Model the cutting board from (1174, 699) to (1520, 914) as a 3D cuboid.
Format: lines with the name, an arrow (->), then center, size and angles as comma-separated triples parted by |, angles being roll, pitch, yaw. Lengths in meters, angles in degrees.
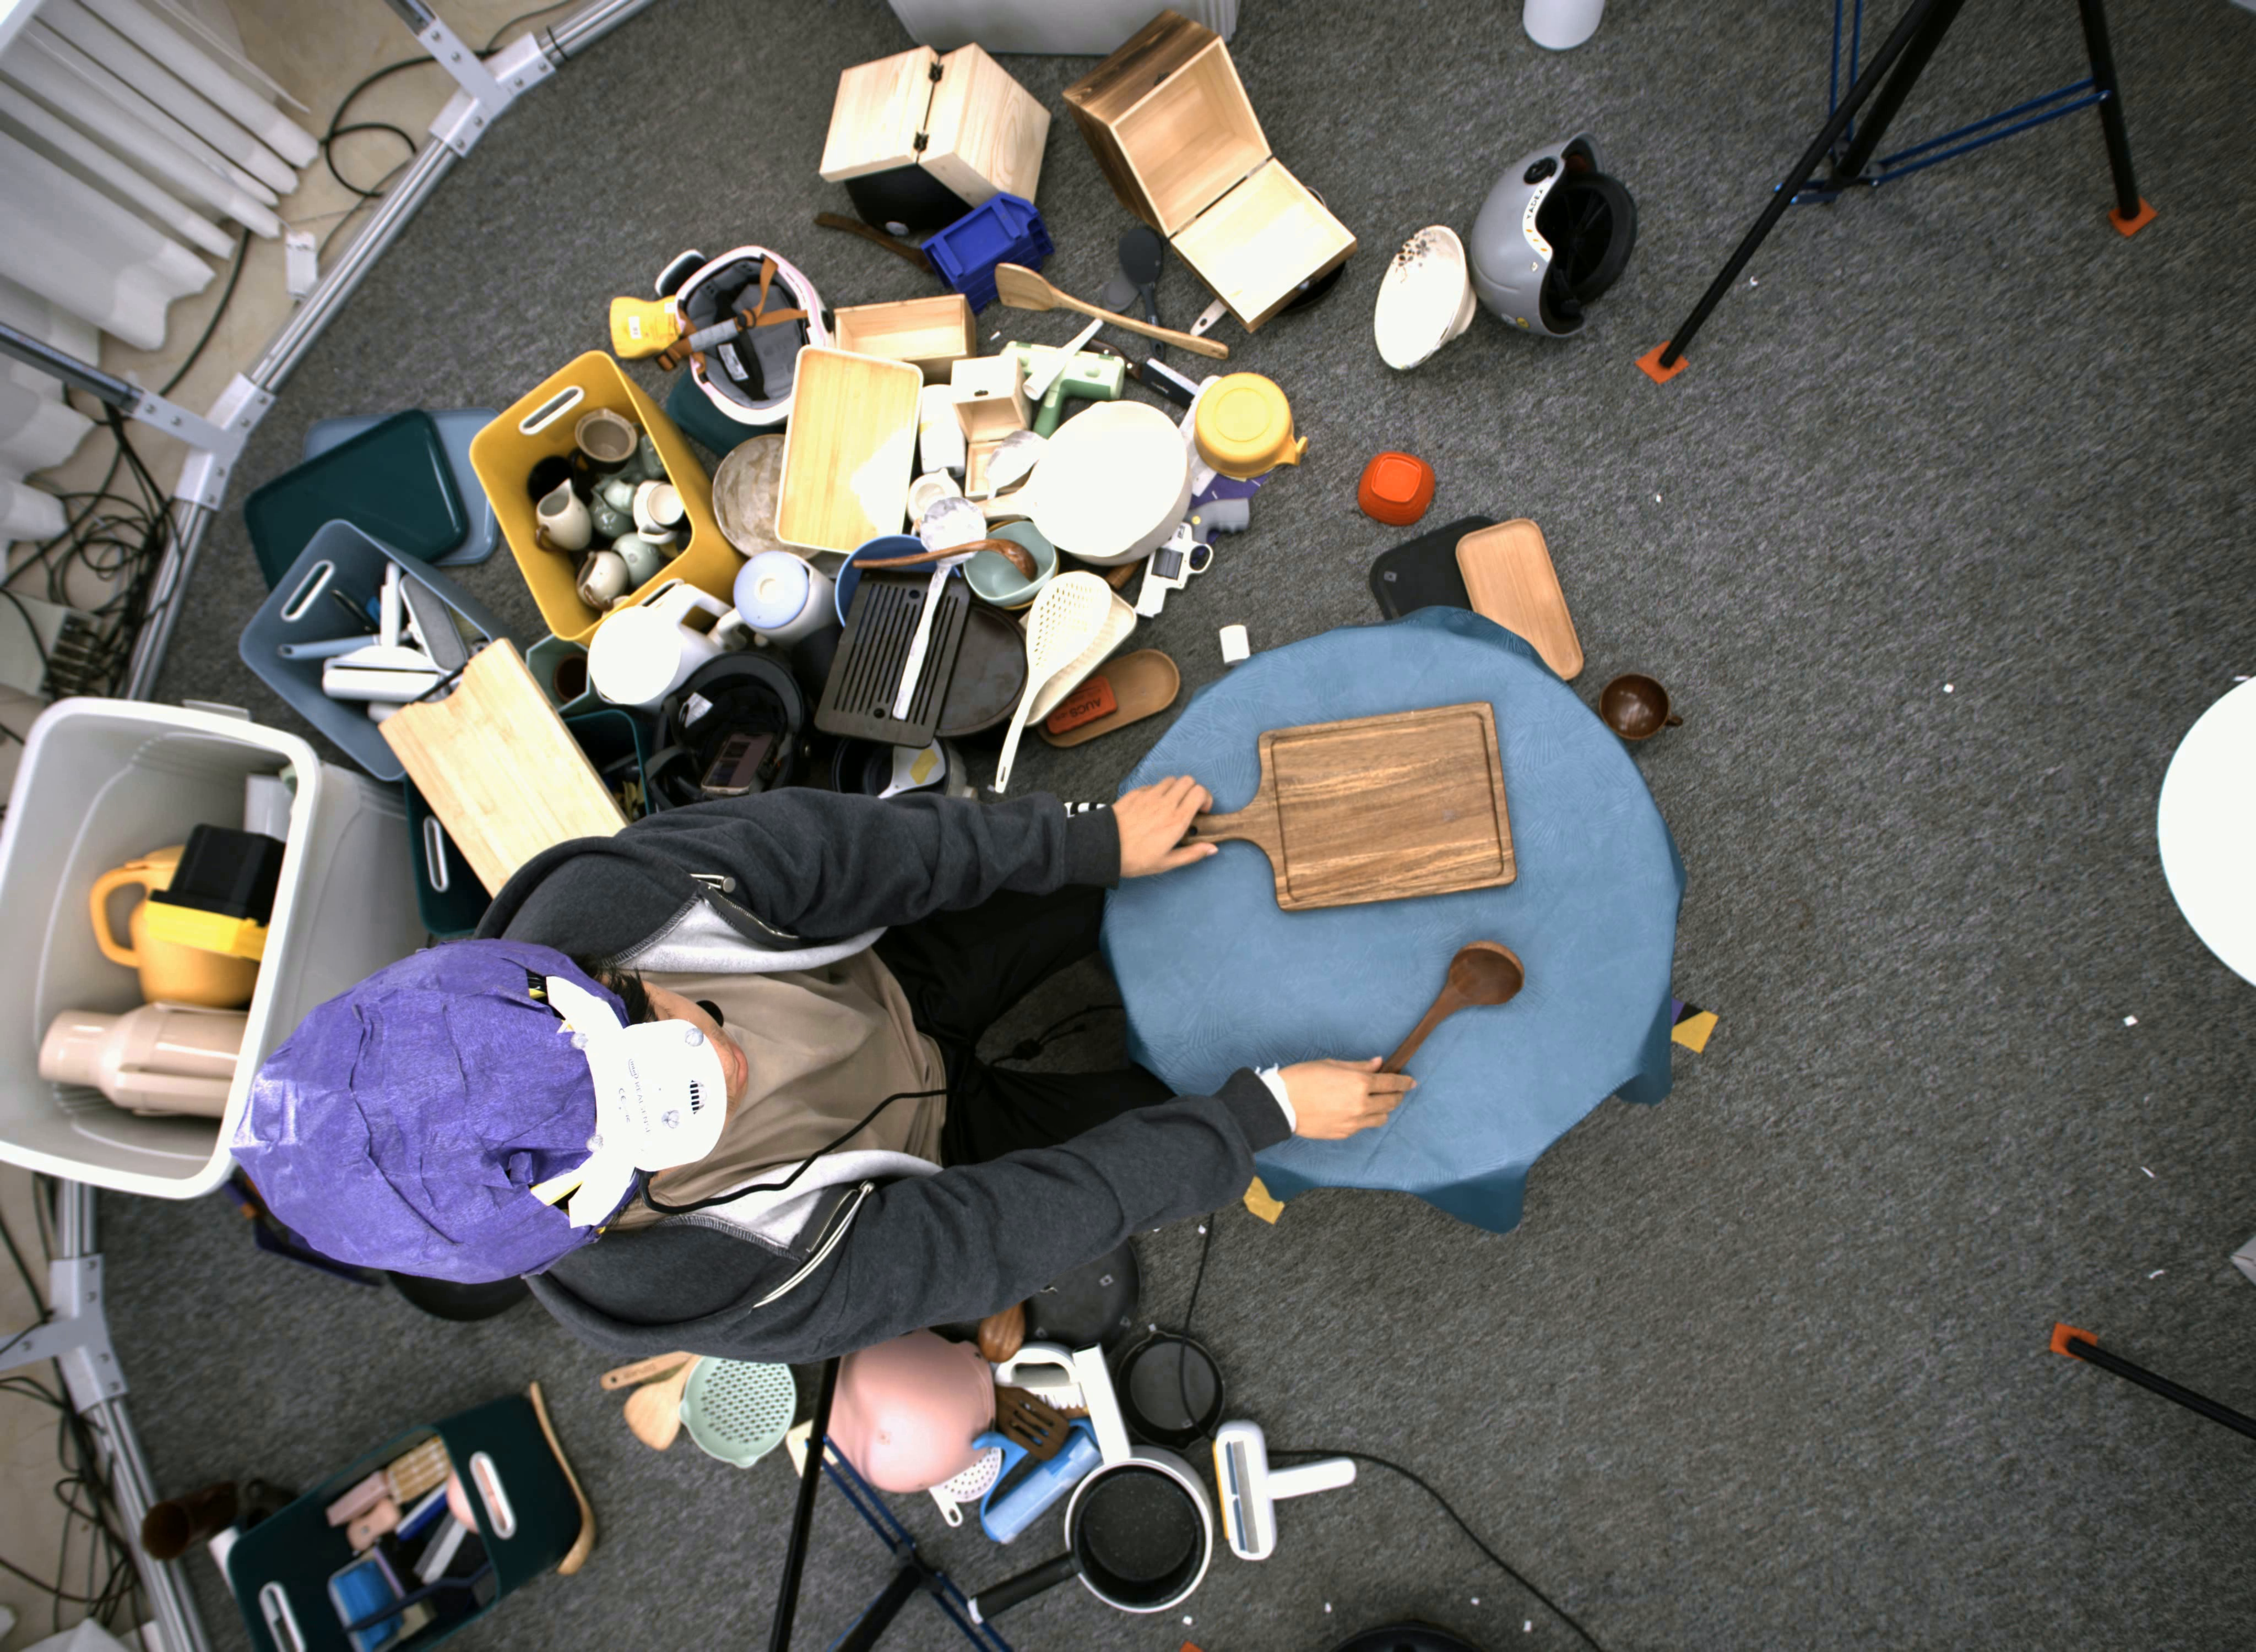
cutting board -> 0.223, -0.015, 1.461 | 0.354, 0.023, 0.200 | -8, 84, 10

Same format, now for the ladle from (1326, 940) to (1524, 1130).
ladle -> 0.299, 0.218, 1.413 | 0.076, 0.065, 0.261 | 44, 95, 0
